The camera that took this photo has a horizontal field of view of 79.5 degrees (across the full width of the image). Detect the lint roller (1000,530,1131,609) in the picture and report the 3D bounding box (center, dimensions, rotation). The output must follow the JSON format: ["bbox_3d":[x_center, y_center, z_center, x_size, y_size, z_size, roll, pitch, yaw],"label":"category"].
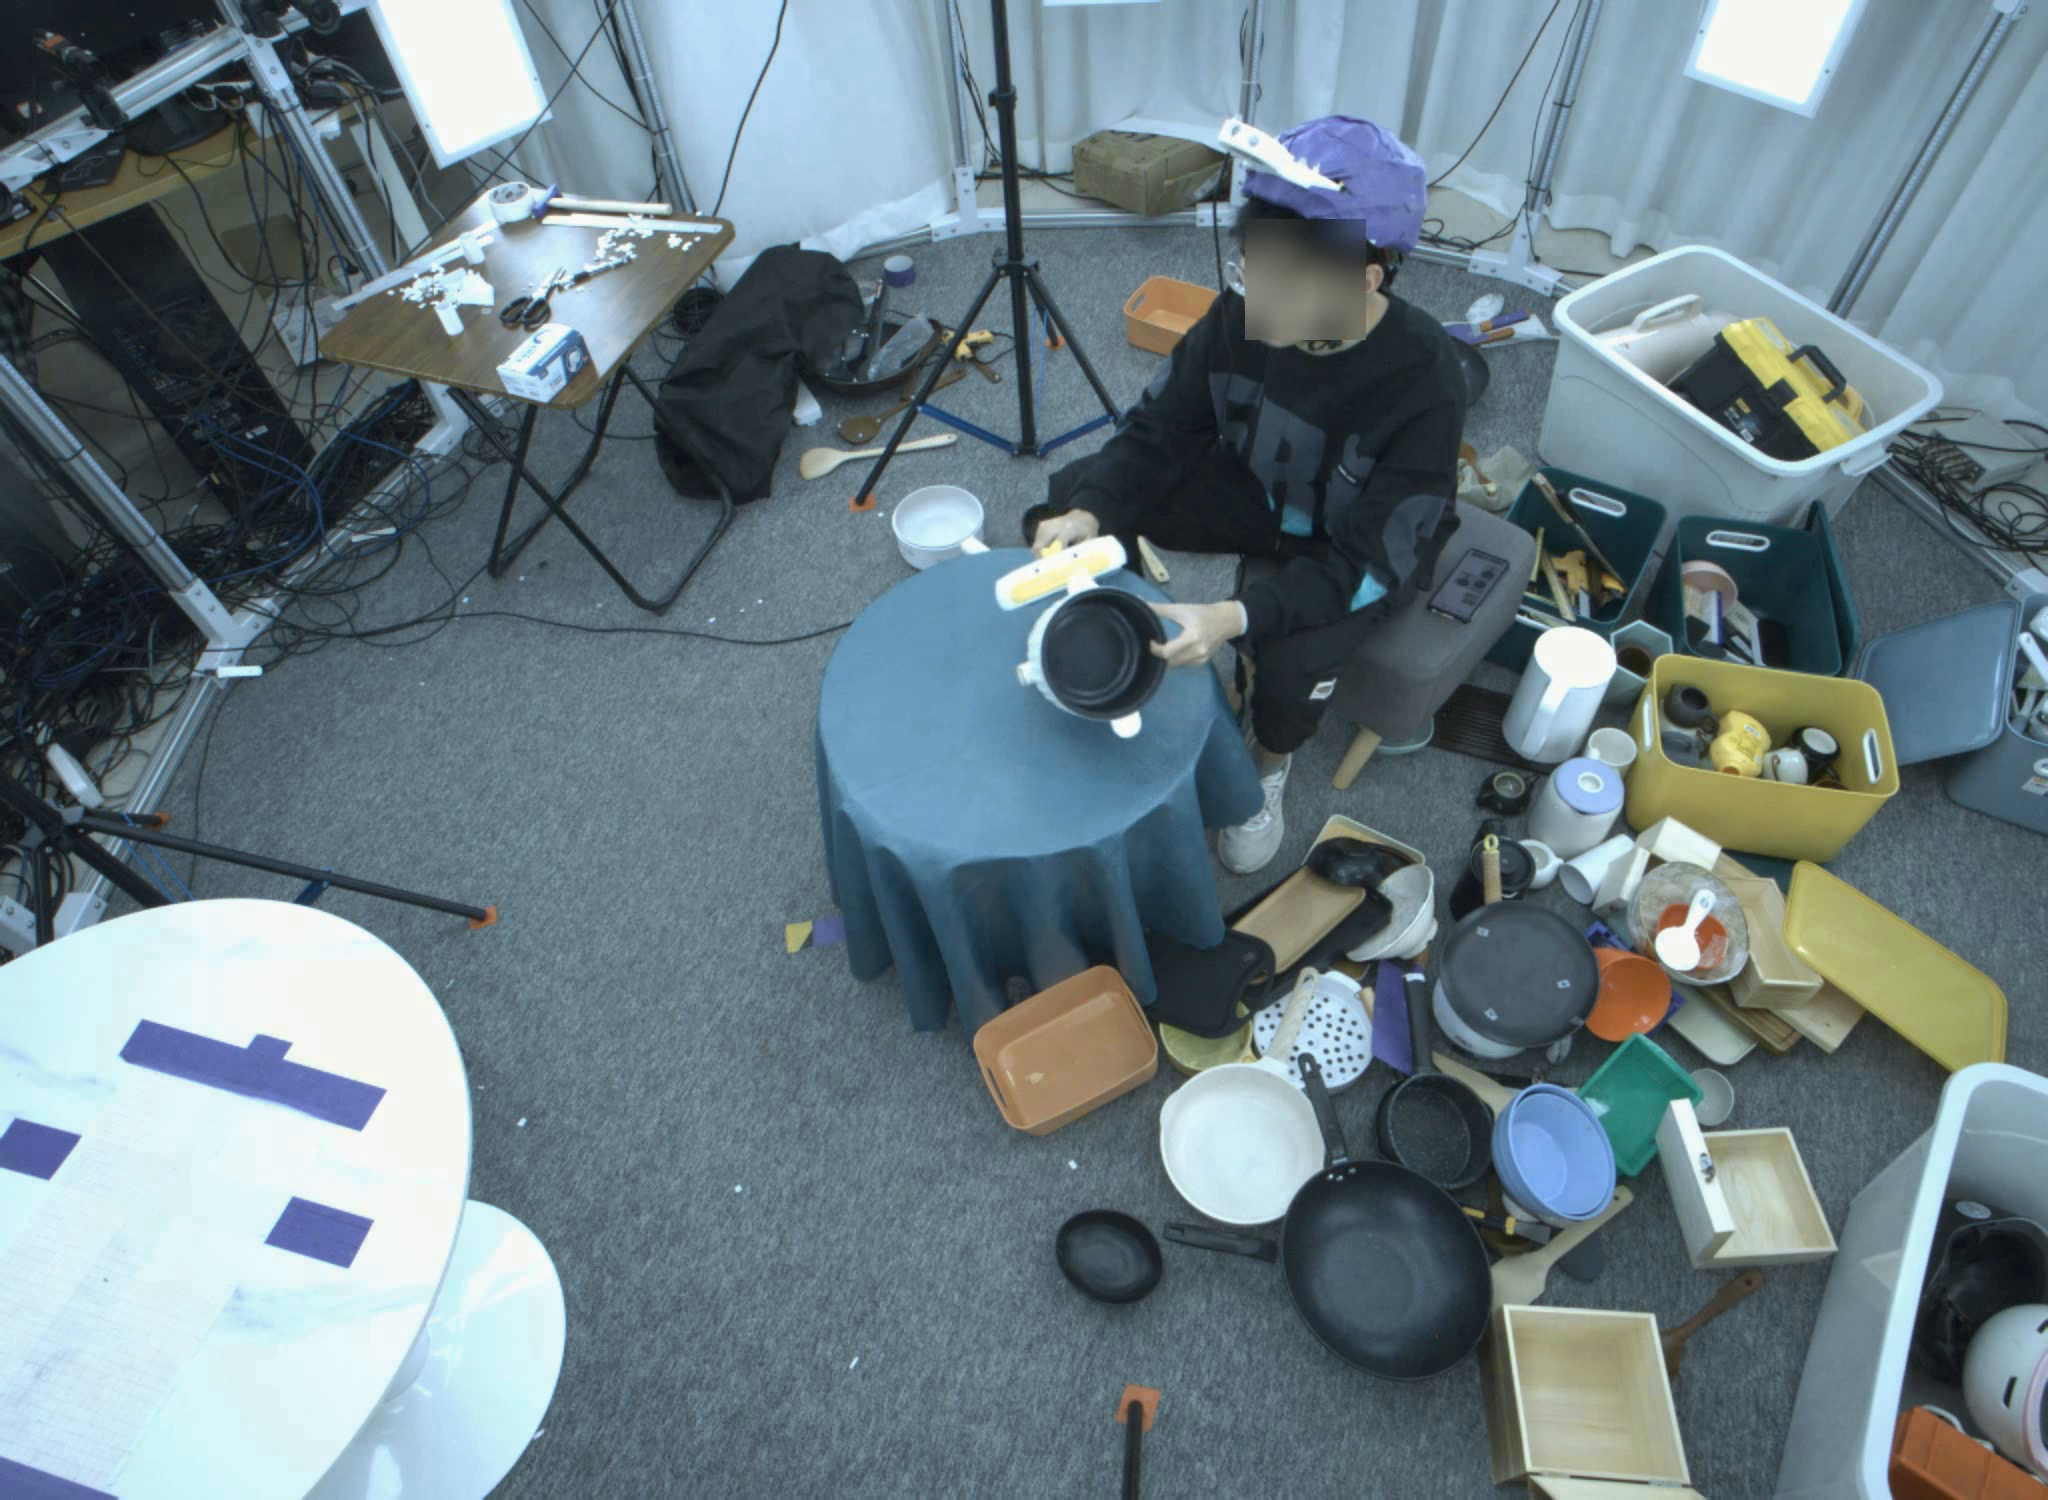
[{"bbox_3d":[0.052,-0.274,1.783,0.192,0.075,0.191,-26,14,6],"label":"lint roller"}]

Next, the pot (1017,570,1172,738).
[{"bbox_3d":[0.092,-0.130,1.723,0.192,0.141,0.241,-22,99,-15],"label":"pot"}]
